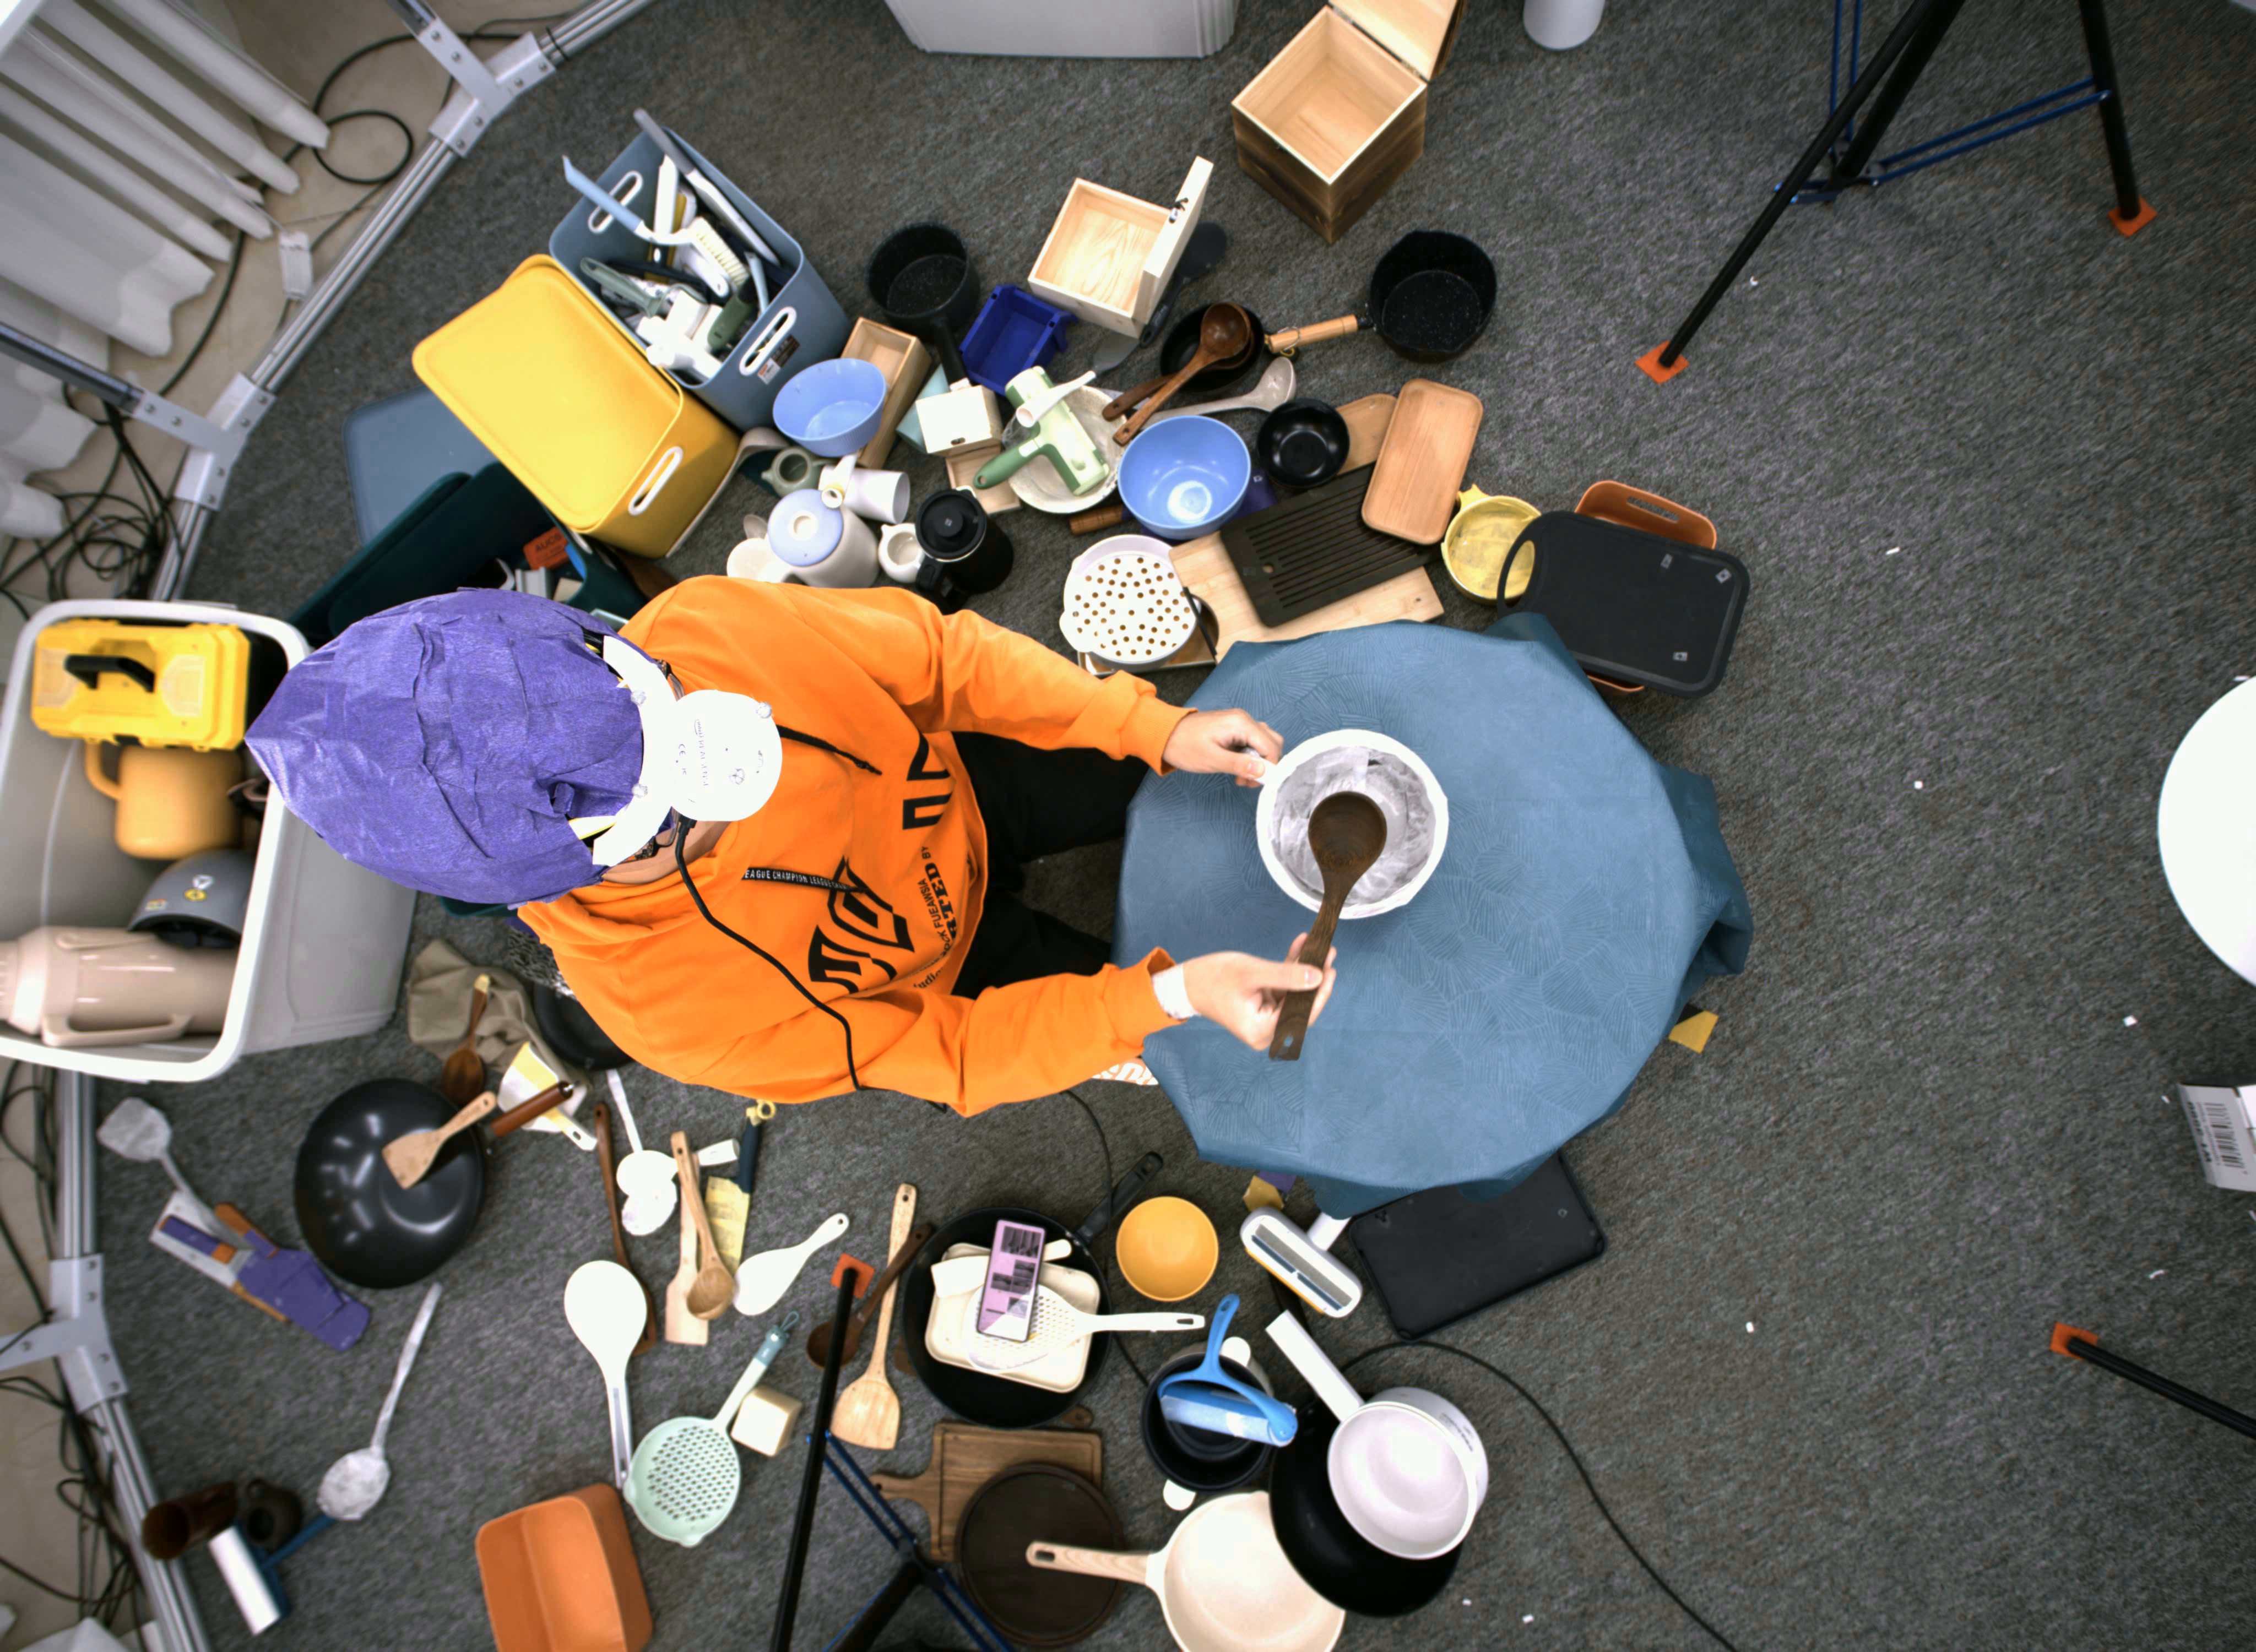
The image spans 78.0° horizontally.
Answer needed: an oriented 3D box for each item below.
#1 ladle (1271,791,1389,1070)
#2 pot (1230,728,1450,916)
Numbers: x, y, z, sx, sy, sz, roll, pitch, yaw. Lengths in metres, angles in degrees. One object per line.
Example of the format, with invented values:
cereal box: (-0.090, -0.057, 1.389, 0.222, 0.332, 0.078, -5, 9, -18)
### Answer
ladle: (0.169, 0.082, 1.215, 0.076, 0.073, 0.267, 7, 50, 23)
pot: (0.201, -0.018, 1.354, 0.233, 0.136, 0.180, 29, 98, 11)
